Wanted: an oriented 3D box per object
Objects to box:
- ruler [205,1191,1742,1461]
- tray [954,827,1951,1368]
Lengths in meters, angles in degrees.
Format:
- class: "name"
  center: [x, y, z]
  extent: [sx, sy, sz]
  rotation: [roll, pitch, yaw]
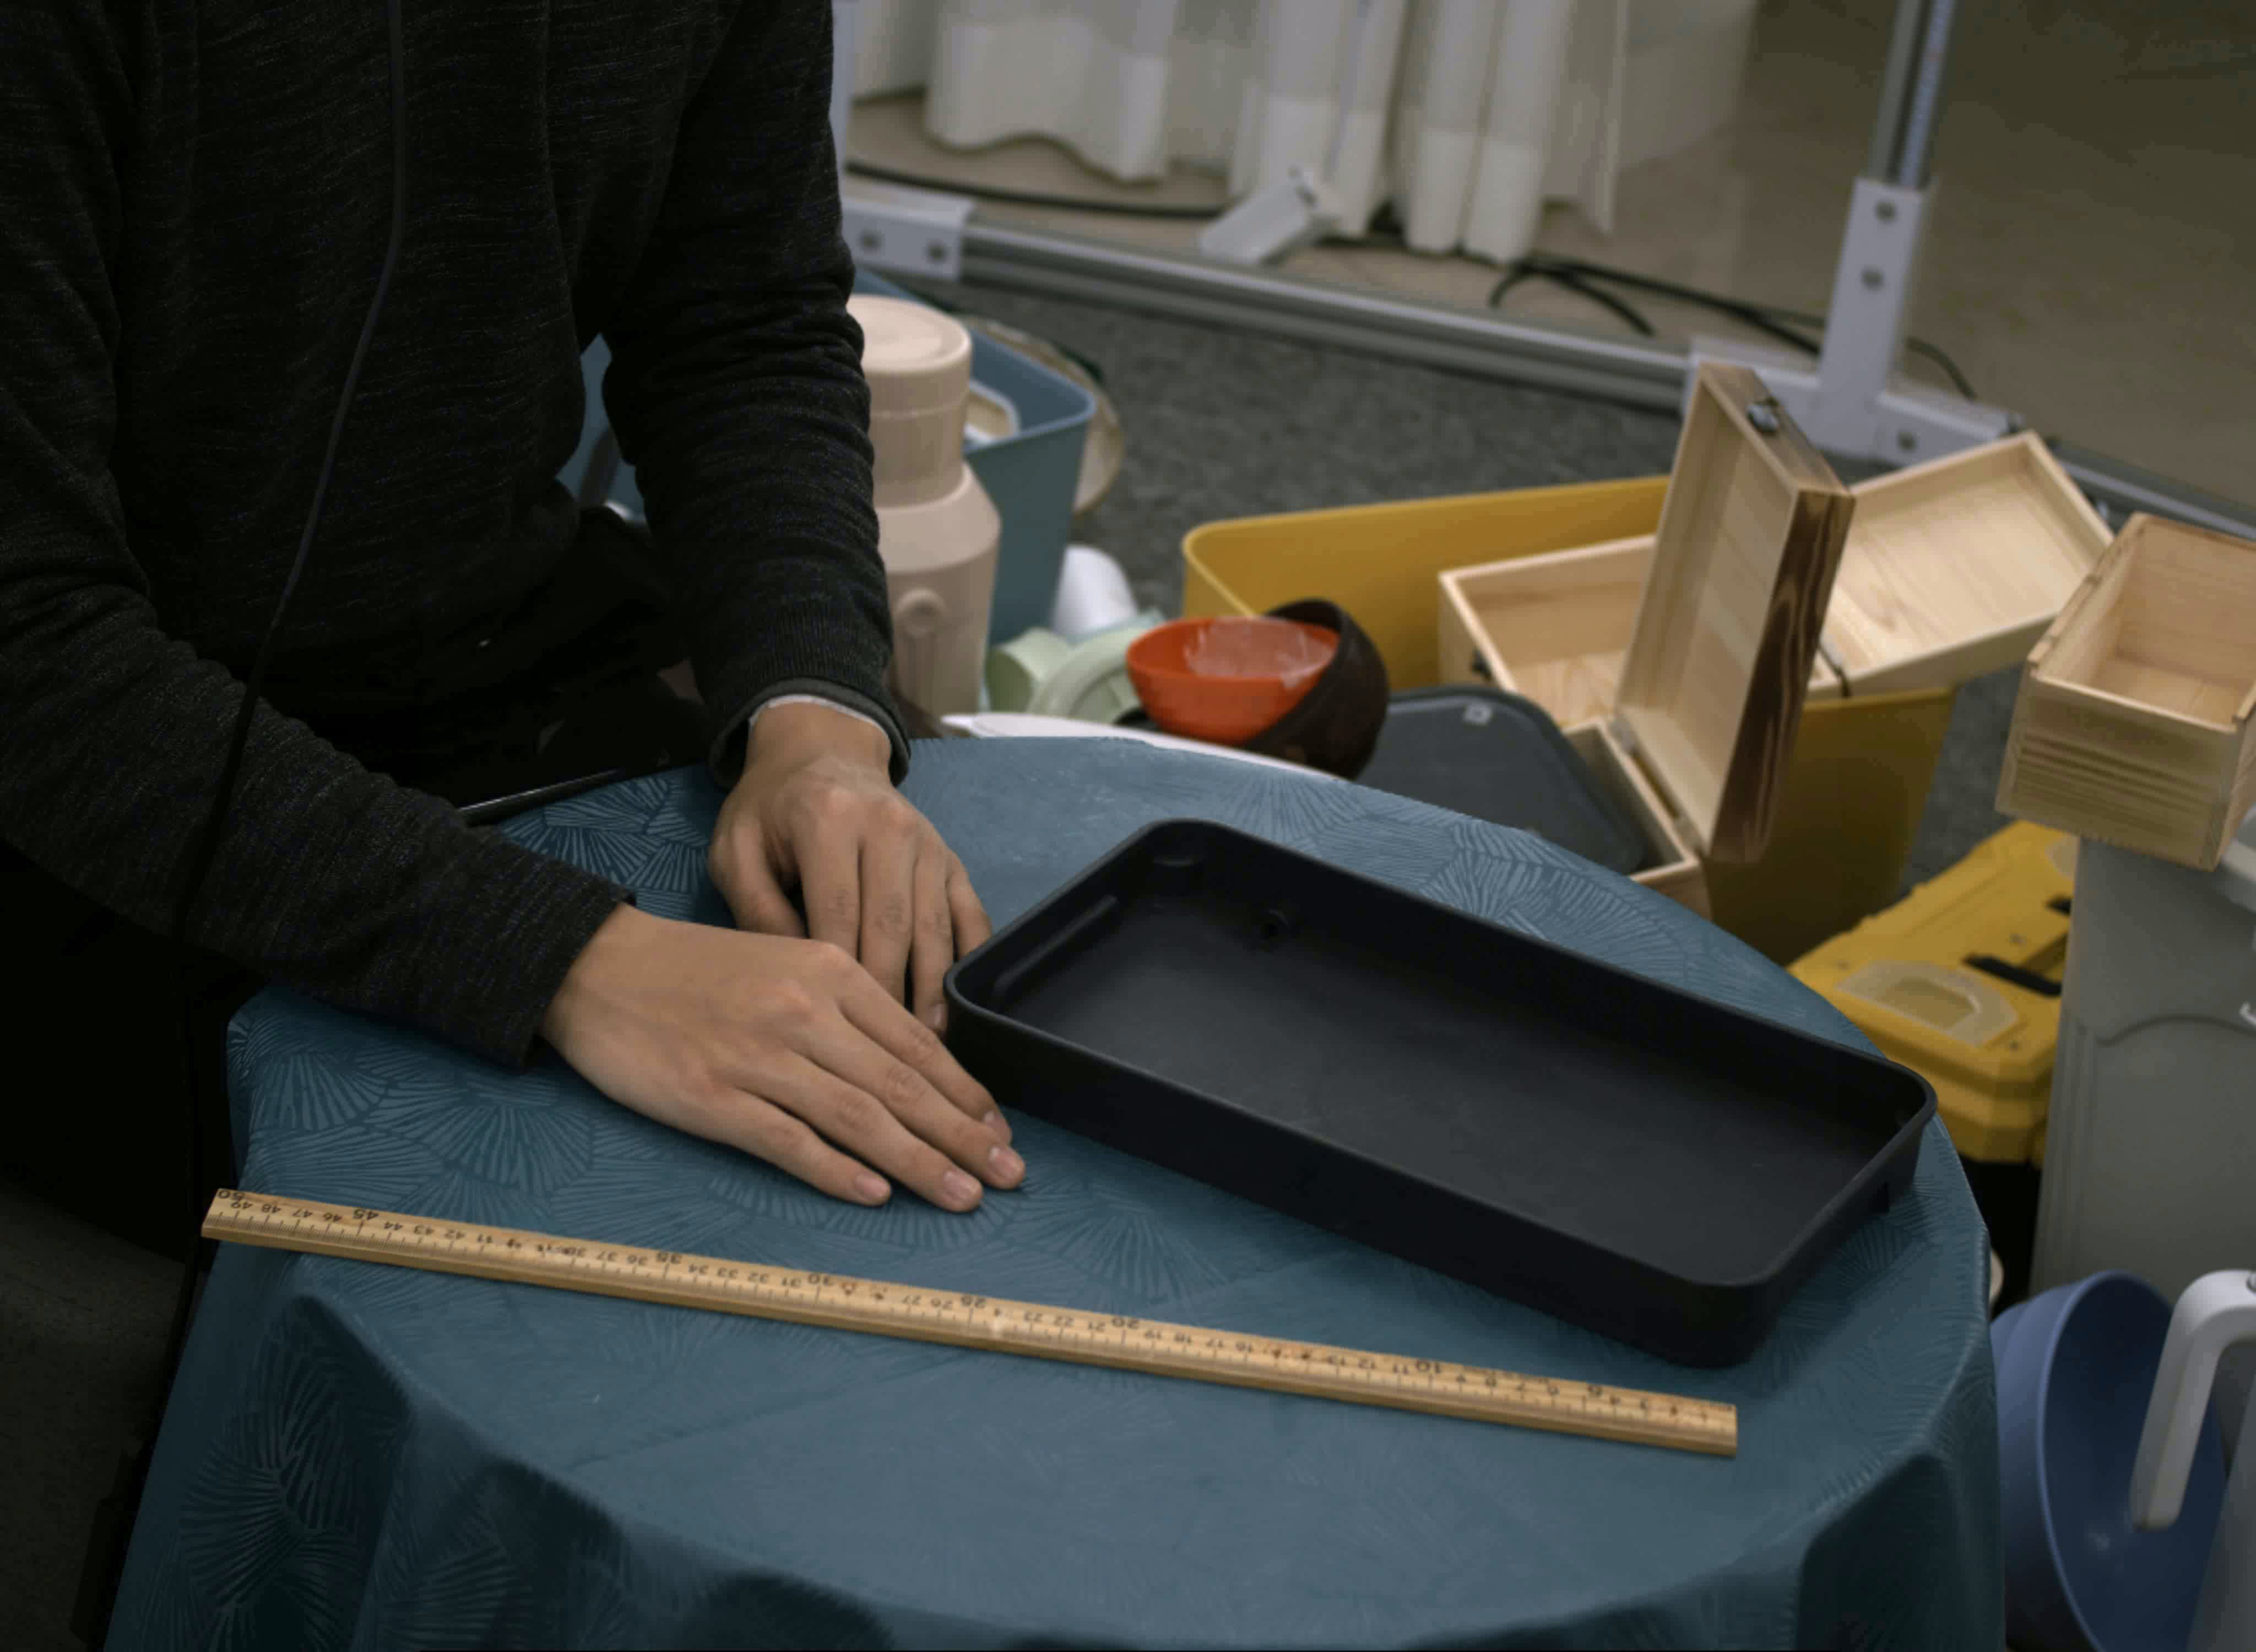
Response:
- class: "ruler"
  center: [-0.051, 0.160, 1.713]
  extent: [0.499, 0.006, 0.027]
  rotation: [8, 24, 3]
- class: "tray"
  center: [0.111, 0.090, 1.854]
  extent: [0.319, 0.037, 0.184]
  rotation: [18, 29, 23]
